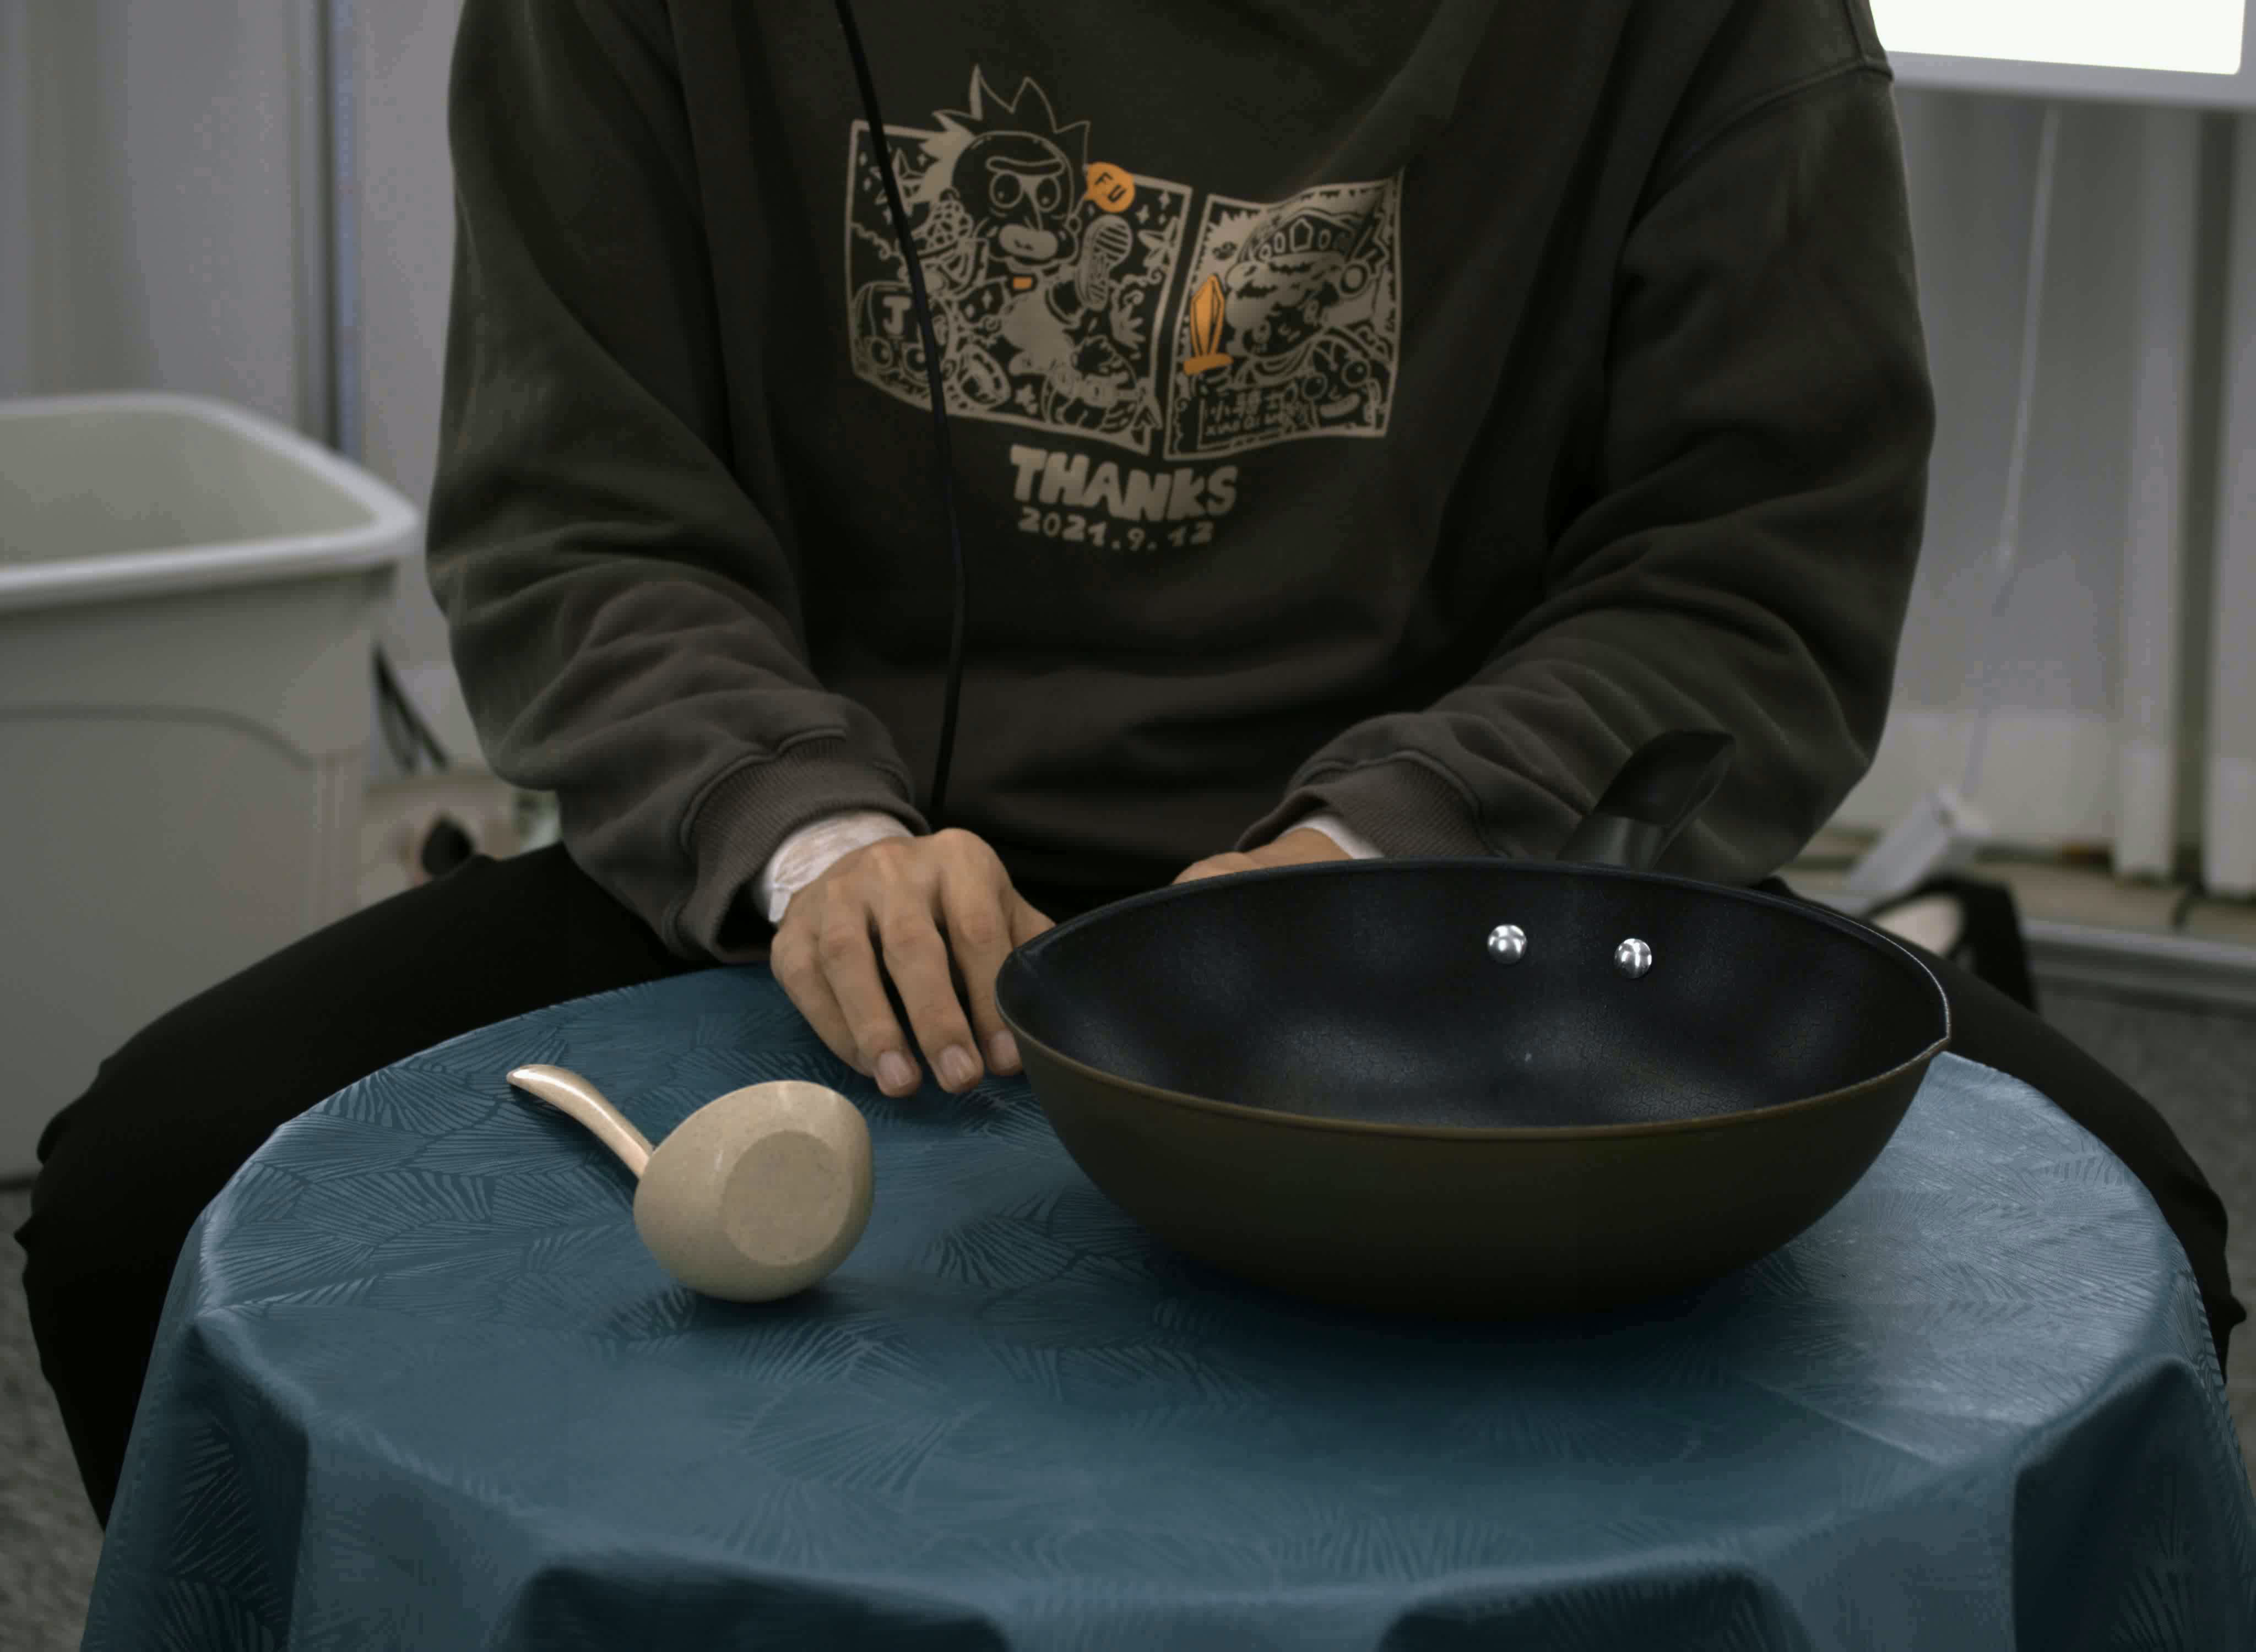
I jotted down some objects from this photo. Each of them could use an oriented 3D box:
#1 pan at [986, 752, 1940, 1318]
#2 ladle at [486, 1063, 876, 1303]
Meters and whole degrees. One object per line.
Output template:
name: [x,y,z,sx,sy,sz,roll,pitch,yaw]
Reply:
pan: [0.127,0.062,1.661,0.285,0.087,0.463,5,15,17]
ladle: [-0.152,0.079,1.609,0.072,0.073,0.251,-13,20,-24]
